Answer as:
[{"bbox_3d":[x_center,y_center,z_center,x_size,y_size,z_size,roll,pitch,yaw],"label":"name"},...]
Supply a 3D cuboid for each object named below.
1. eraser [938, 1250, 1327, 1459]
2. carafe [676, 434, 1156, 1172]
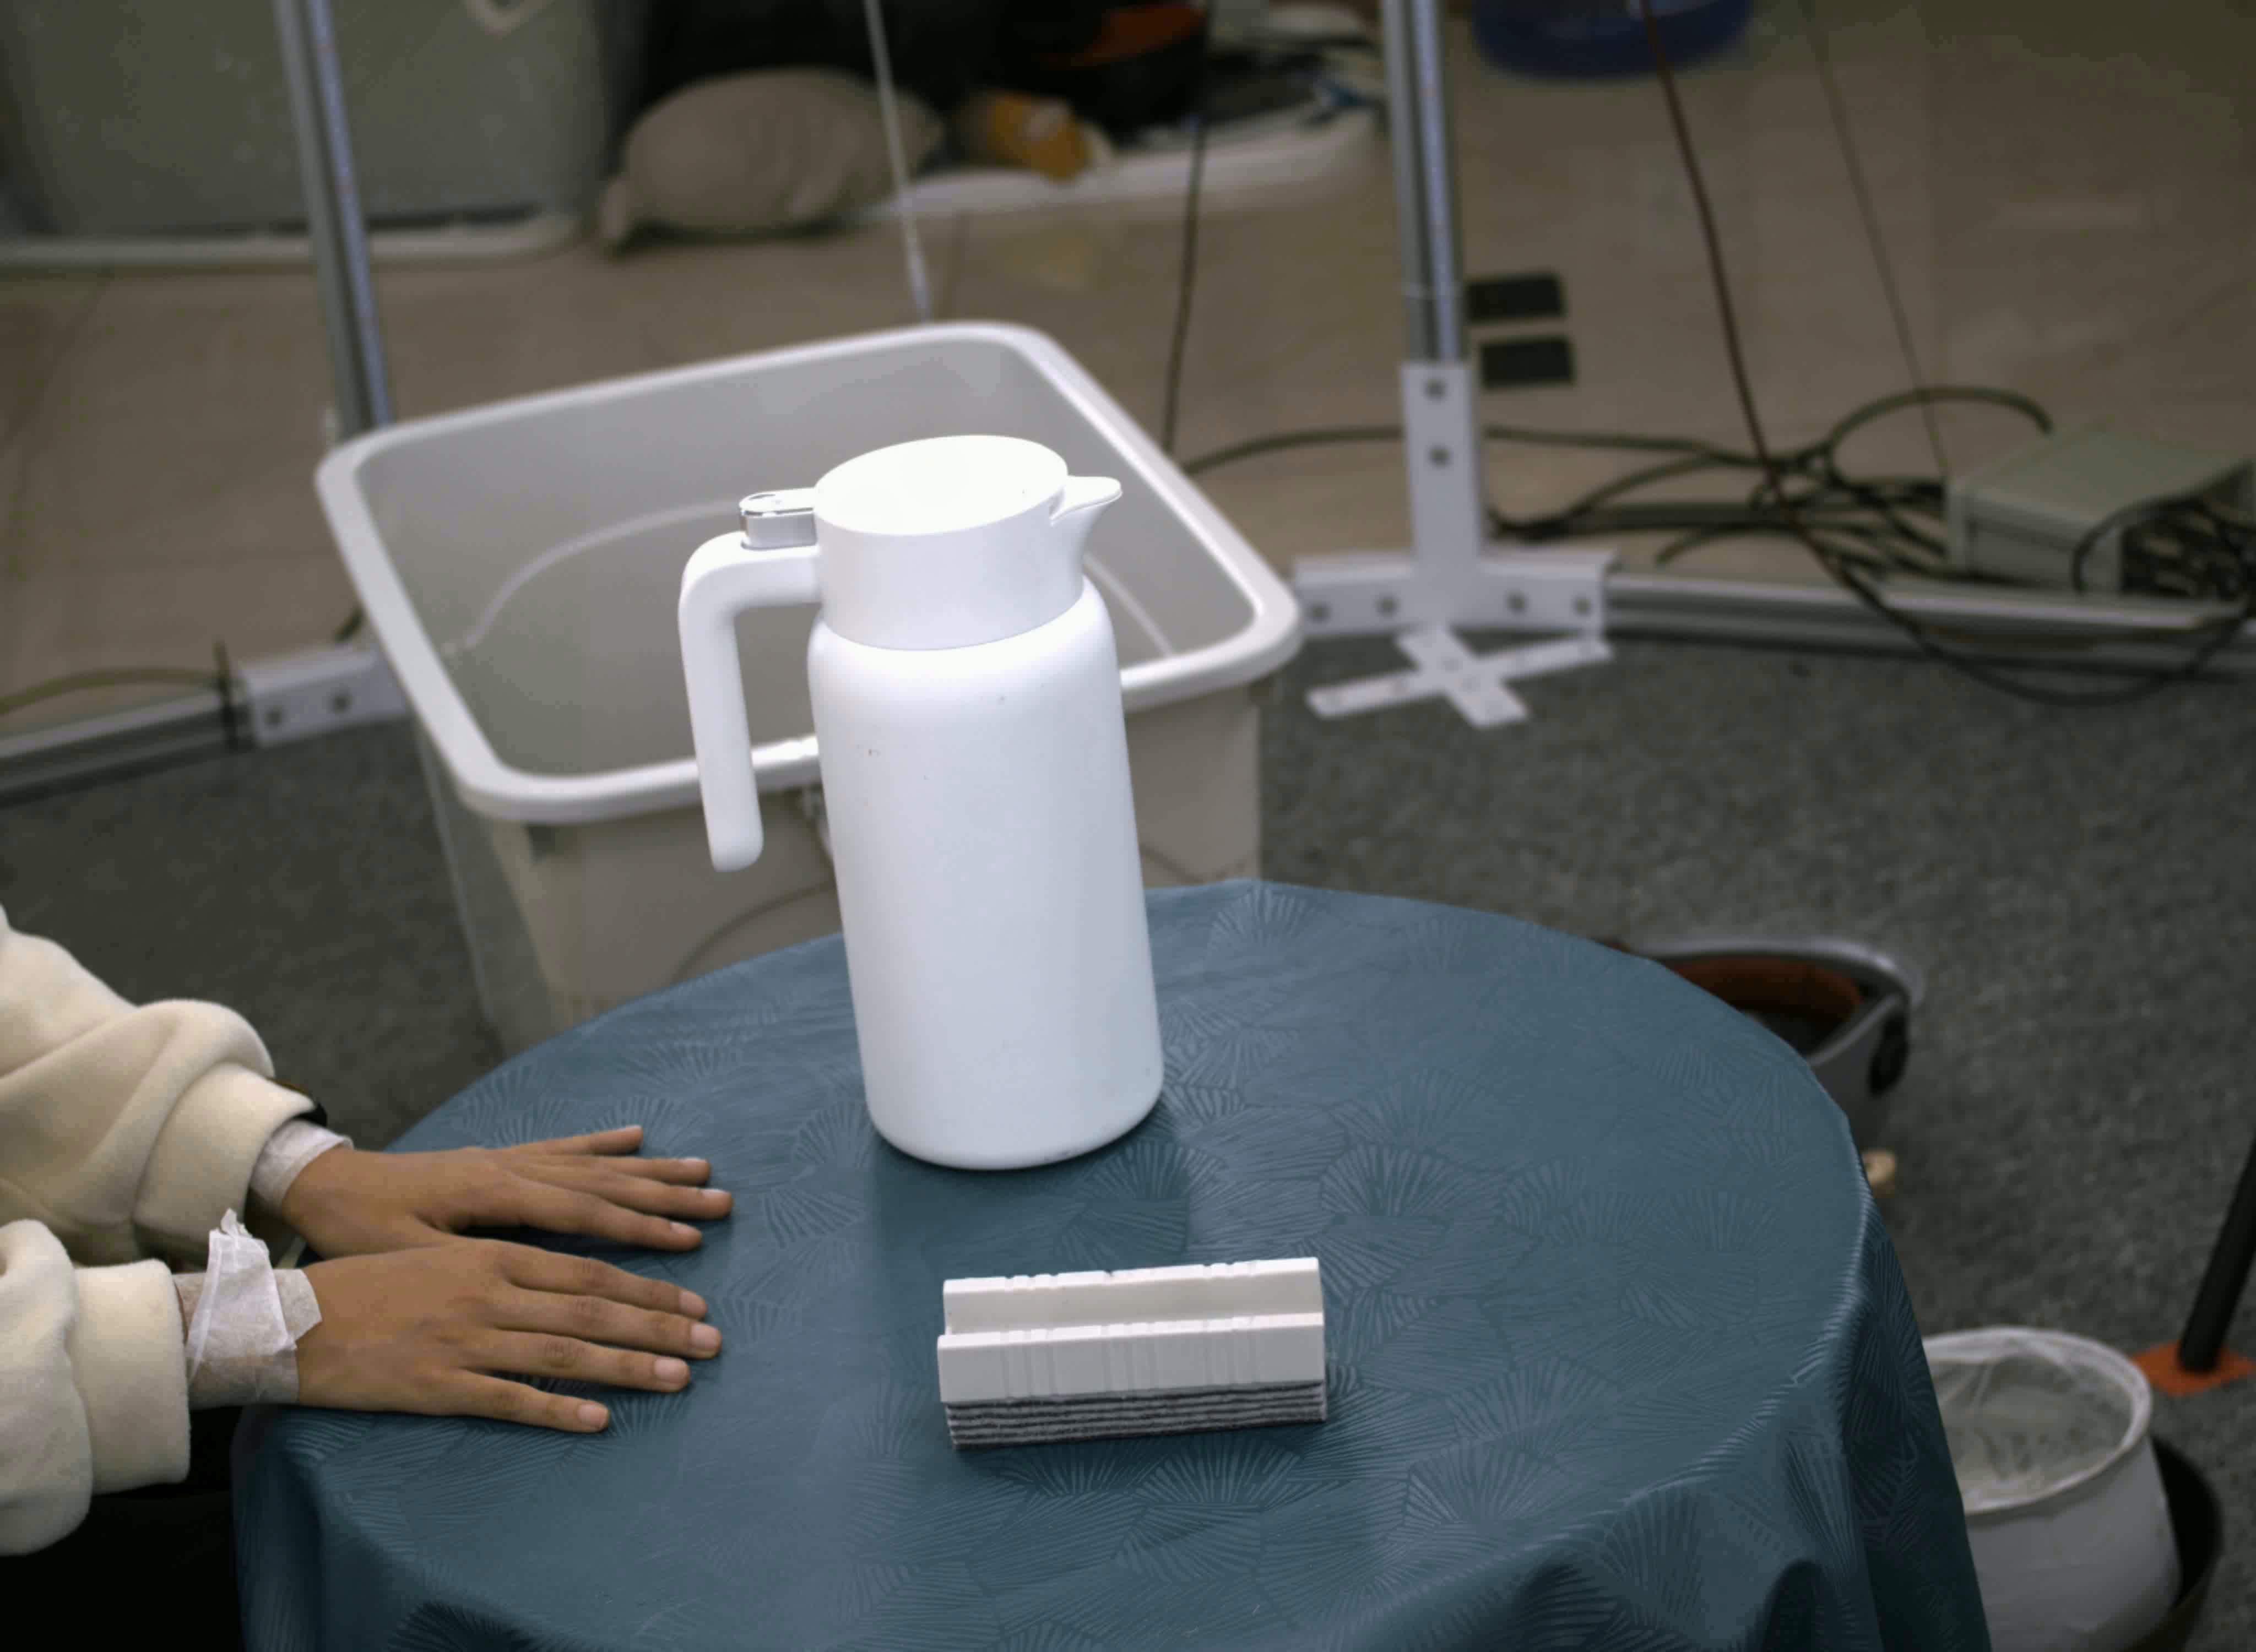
[{"bbox_3d":[0.002,0.186,1.992,0.134,0.047,0.049,-6,29,2],"label":"eraser"},{"bbox_3d":[-0.075,-0.007,2.158,0.172,0.273,0.122,-6,28,1],"label":"carafe"}]
